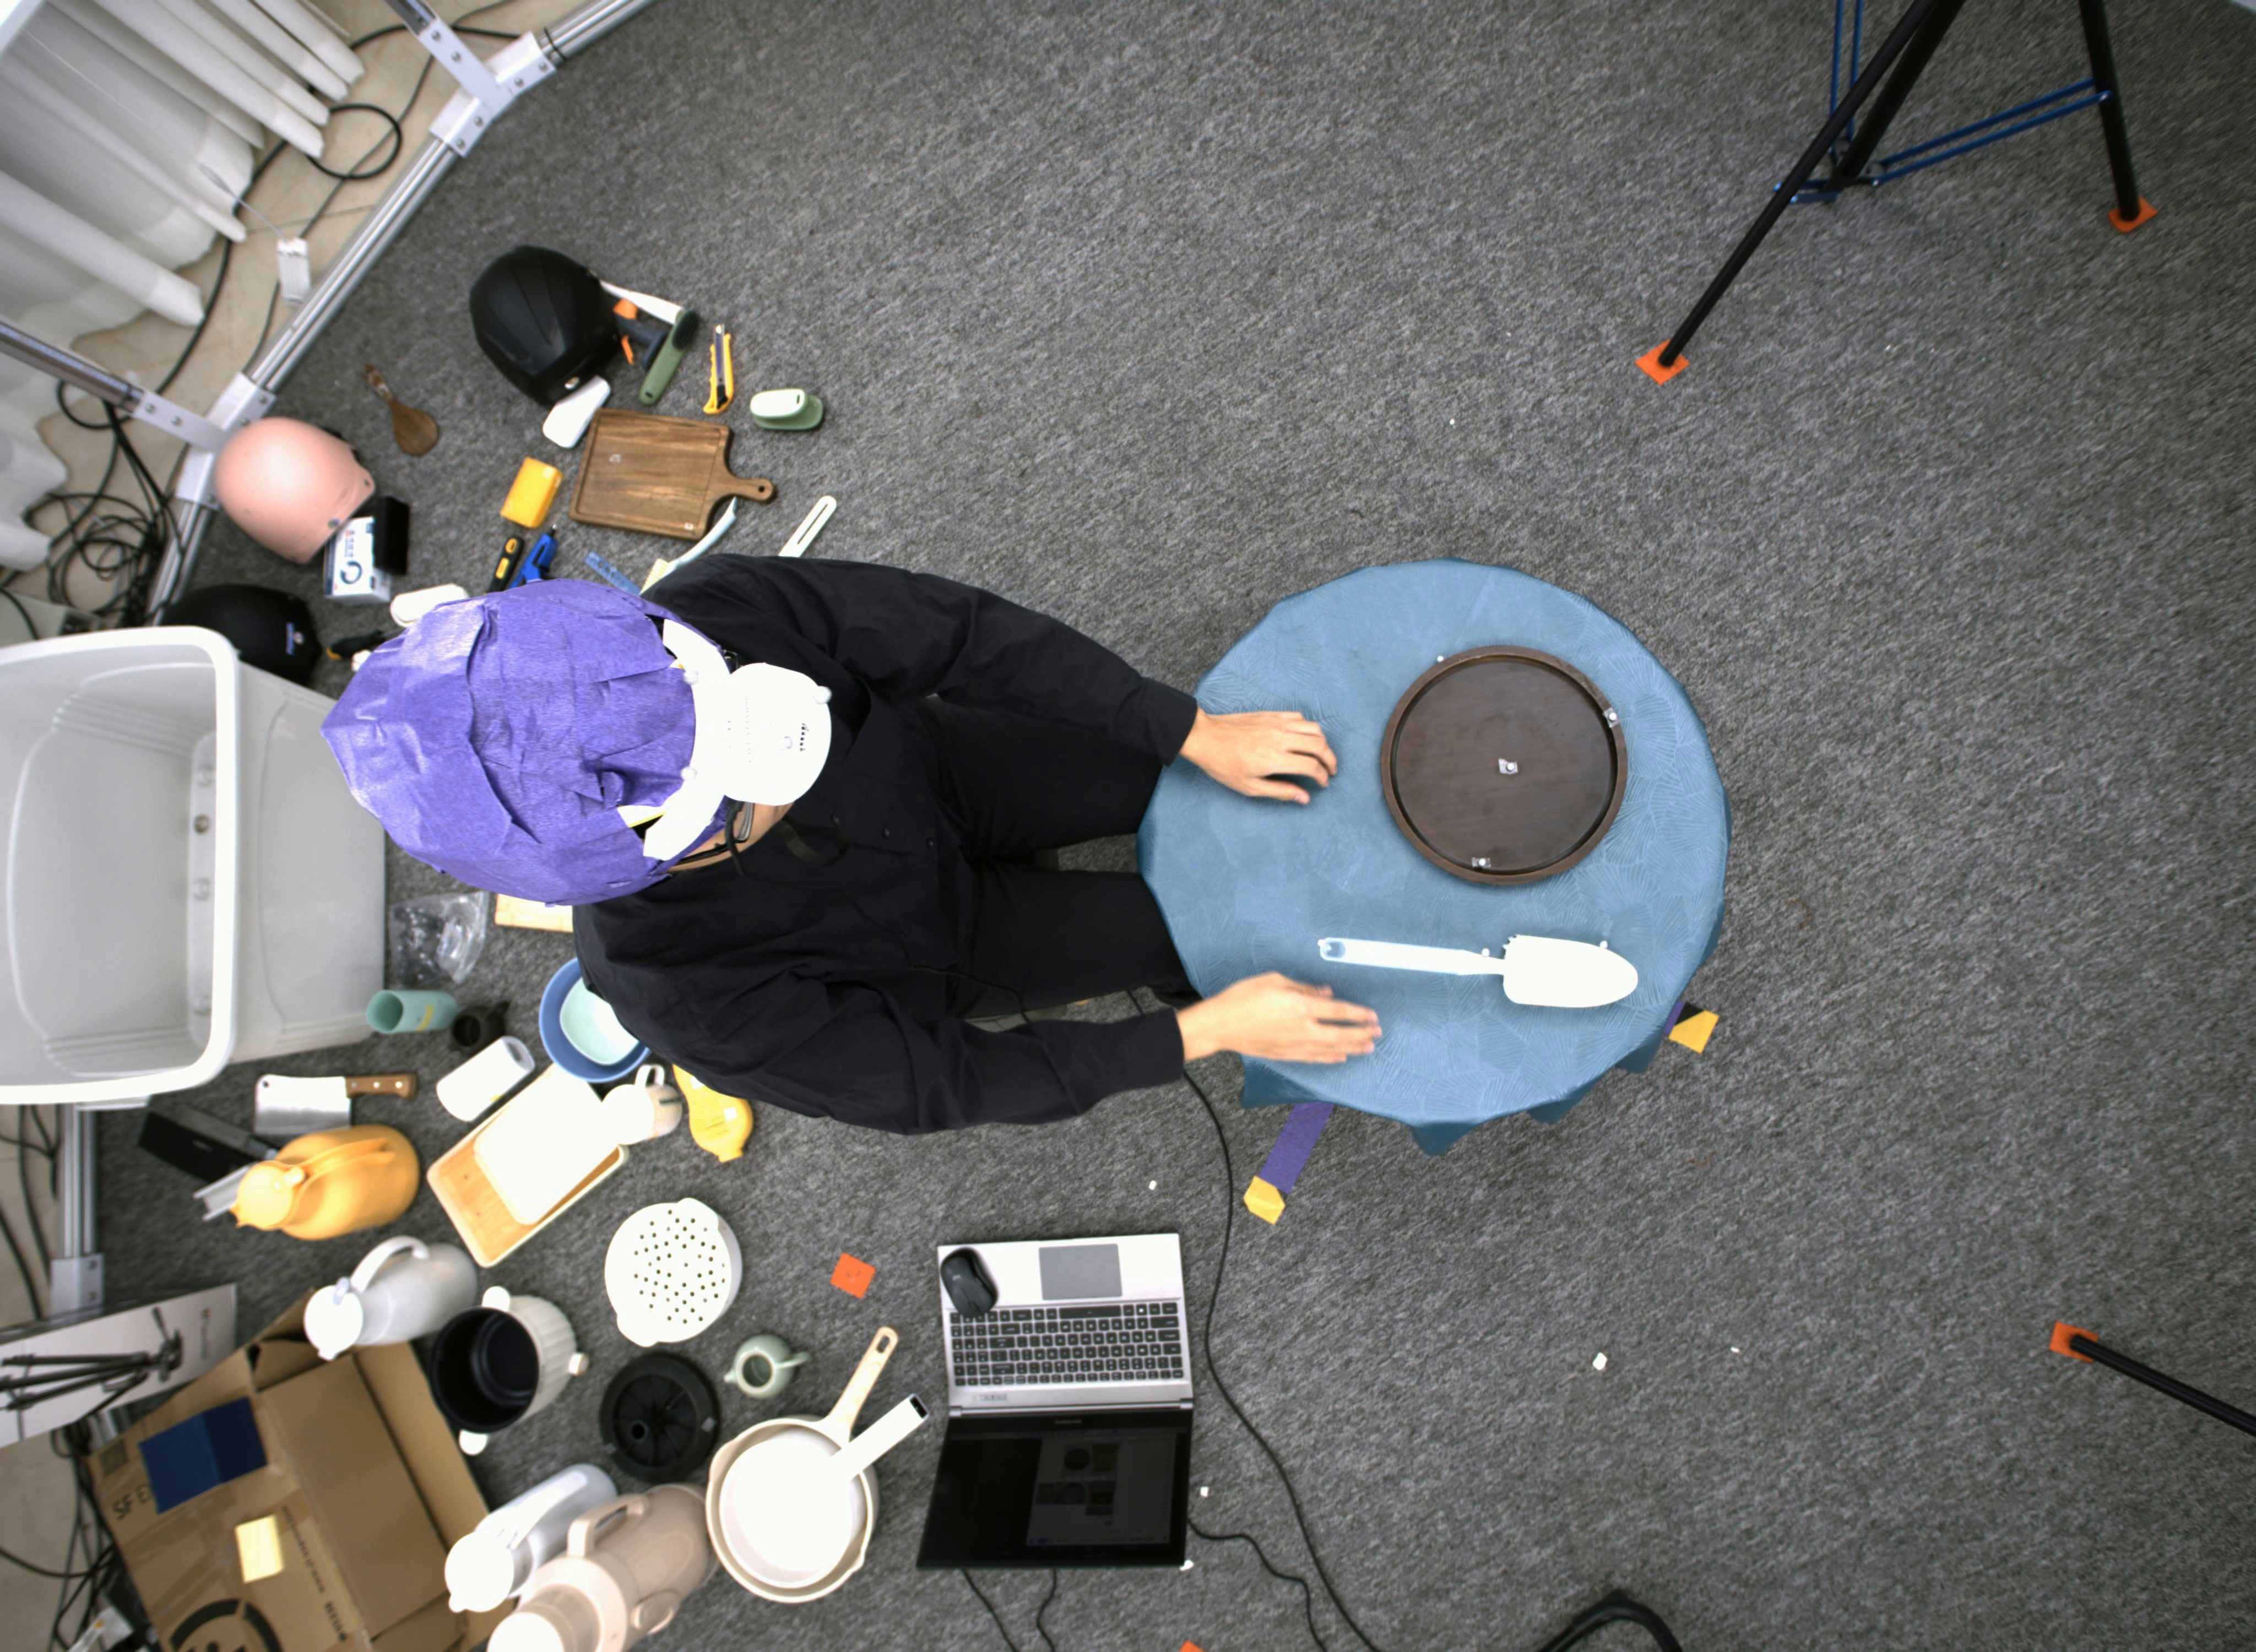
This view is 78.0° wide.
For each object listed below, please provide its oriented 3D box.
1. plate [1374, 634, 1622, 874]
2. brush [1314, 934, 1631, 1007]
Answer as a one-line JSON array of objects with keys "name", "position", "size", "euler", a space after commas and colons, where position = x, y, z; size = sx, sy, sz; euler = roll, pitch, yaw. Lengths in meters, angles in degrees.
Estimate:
[{"name": "plate", "position": [0.384, -0.078, 1.432], "size": [0.256, 0.029, 0.254], "euler": [0, 89, 9]}, {"name": "brush", "position": [0.345, 0.133, 1.400], "size": [0.326, 0.087, 0.081], "euler": [6, 49, -1]}]
